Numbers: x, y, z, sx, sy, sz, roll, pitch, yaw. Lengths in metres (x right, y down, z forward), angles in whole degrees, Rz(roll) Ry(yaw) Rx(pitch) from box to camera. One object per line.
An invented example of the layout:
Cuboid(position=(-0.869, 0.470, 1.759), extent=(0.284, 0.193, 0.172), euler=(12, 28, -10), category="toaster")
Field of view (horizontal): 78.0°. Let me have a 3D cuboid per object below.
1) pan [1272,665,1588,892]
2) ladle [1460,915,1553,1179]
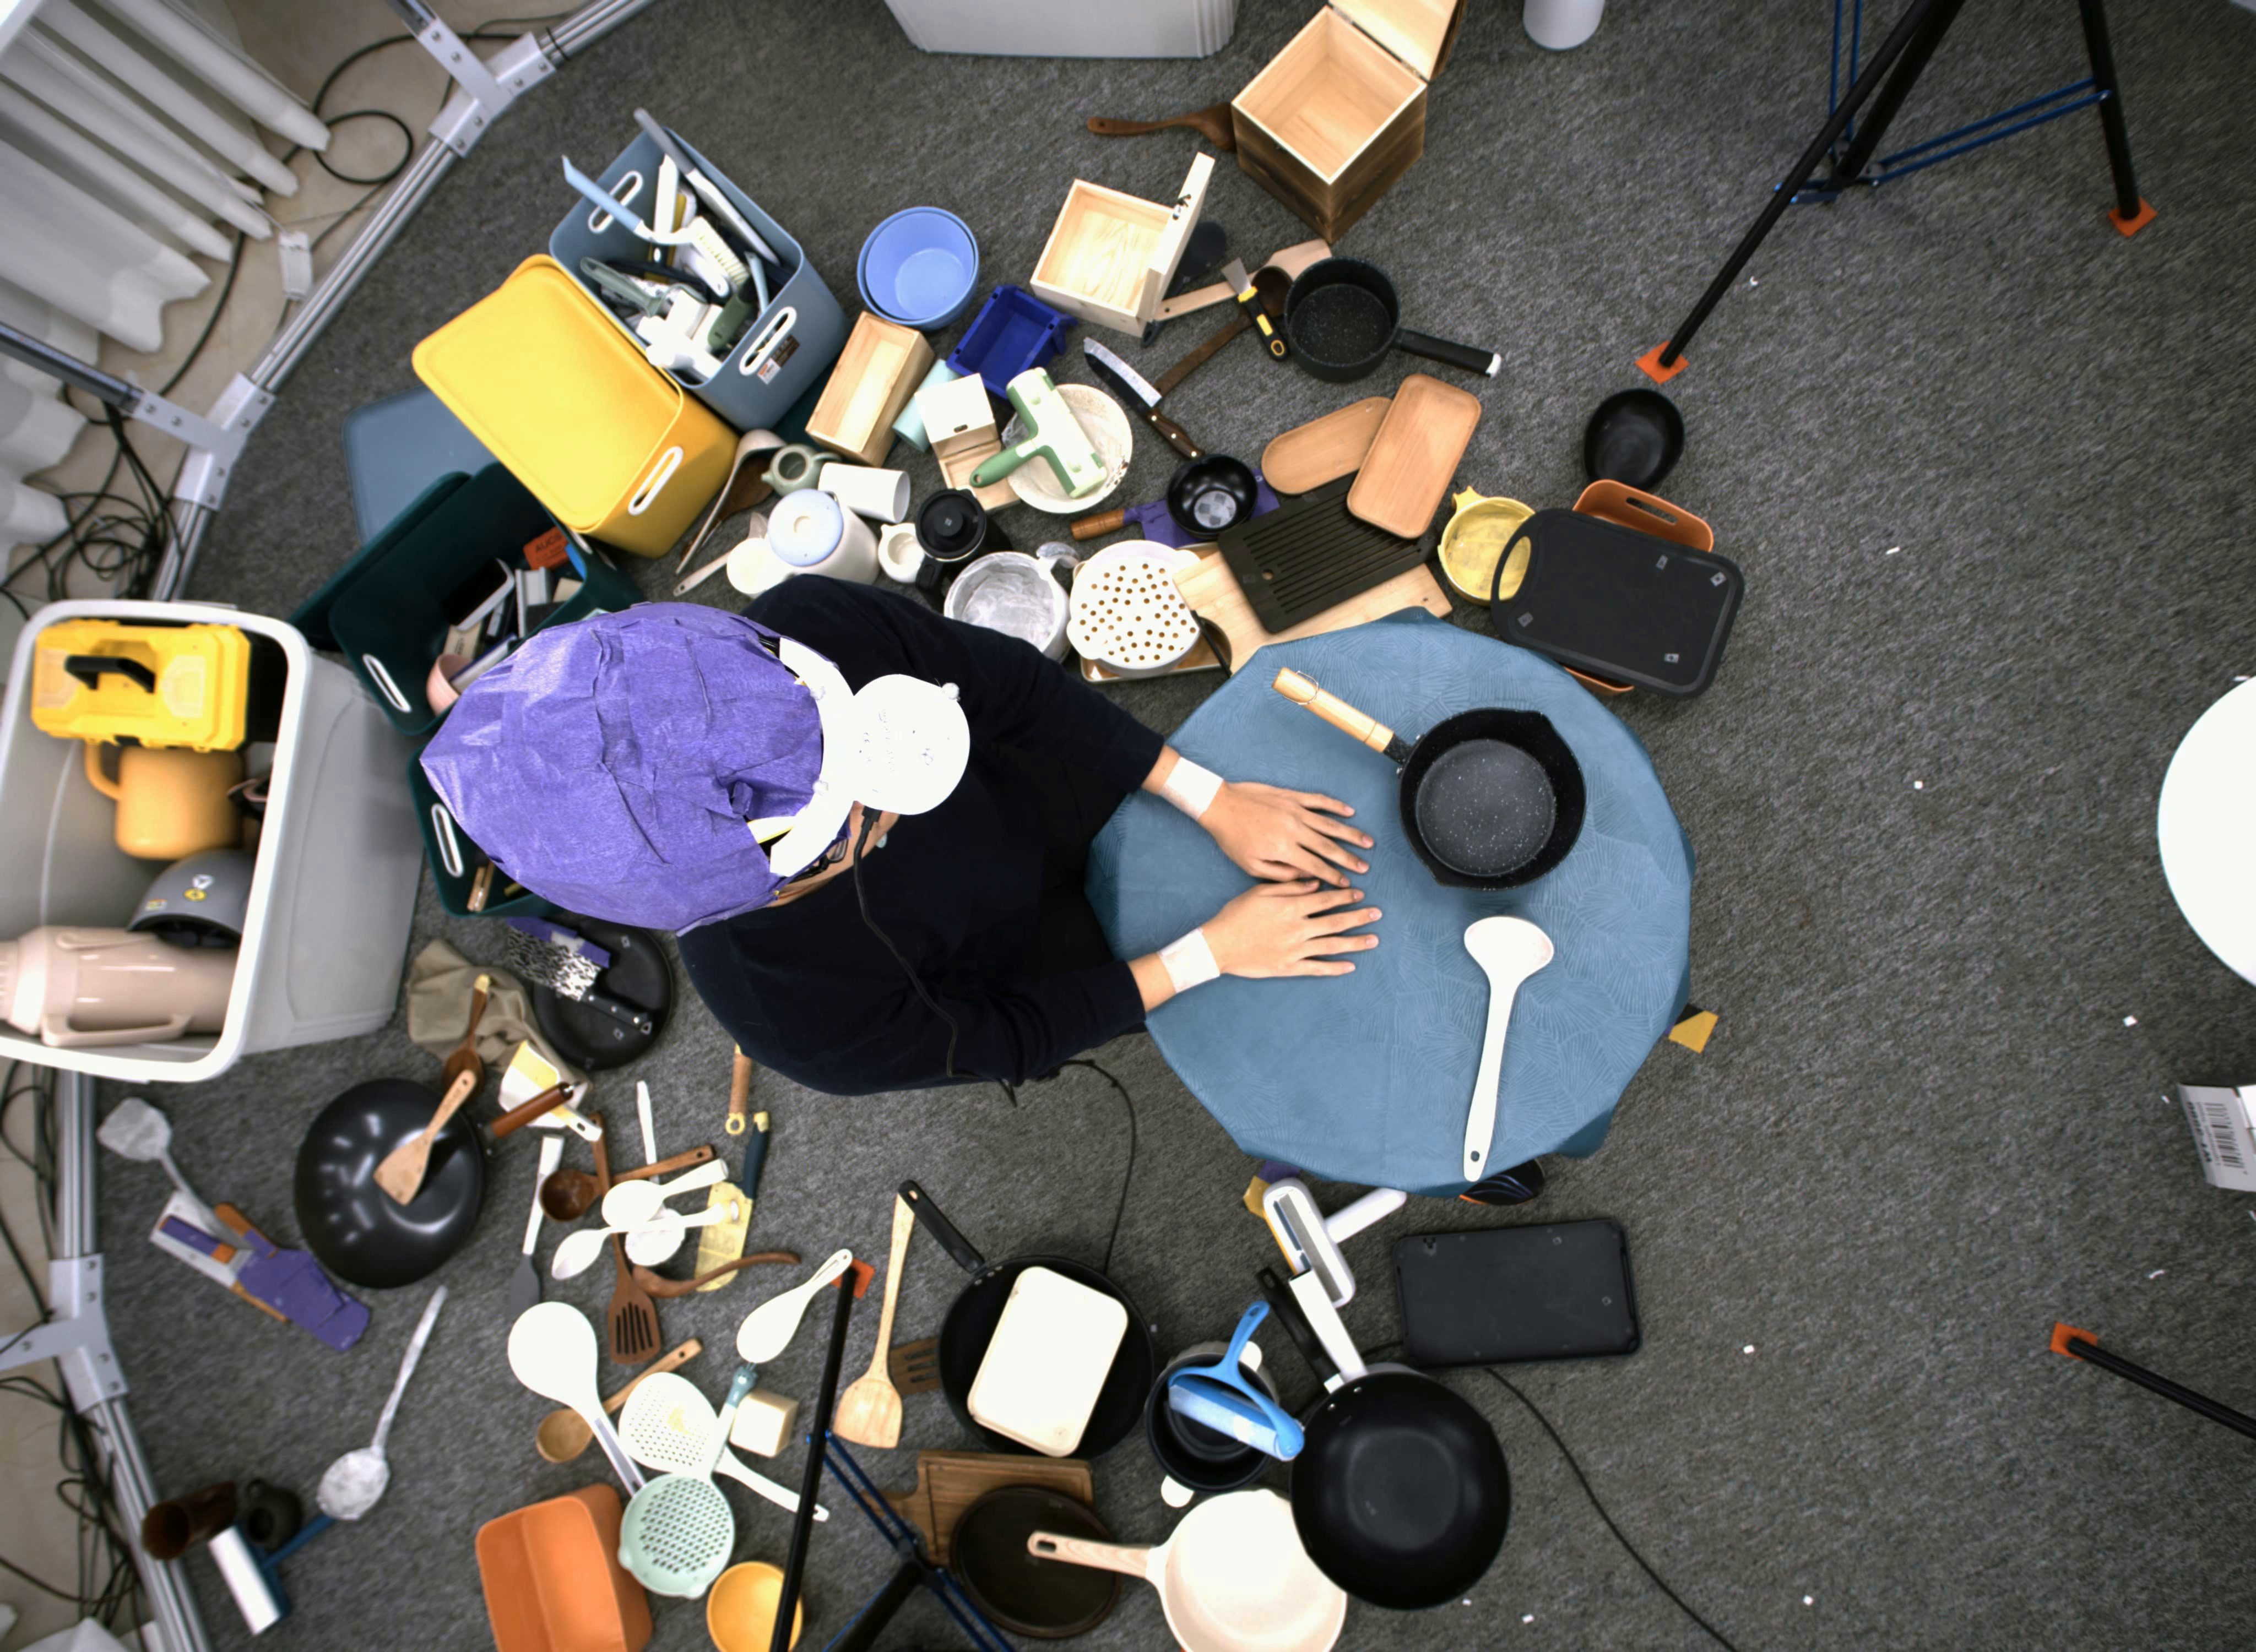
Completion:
Cuboid(position=(0.299, -0.064, 1.407), extent=(0.342, 0.108, 0.208), euler=(29, 93, 9), category="pan")
Cuboid(position=(0.367, 0.224, 1.400), extent=(0.089, 0.069, 0.274), euler=(10, 89, 16), category="ladle")
